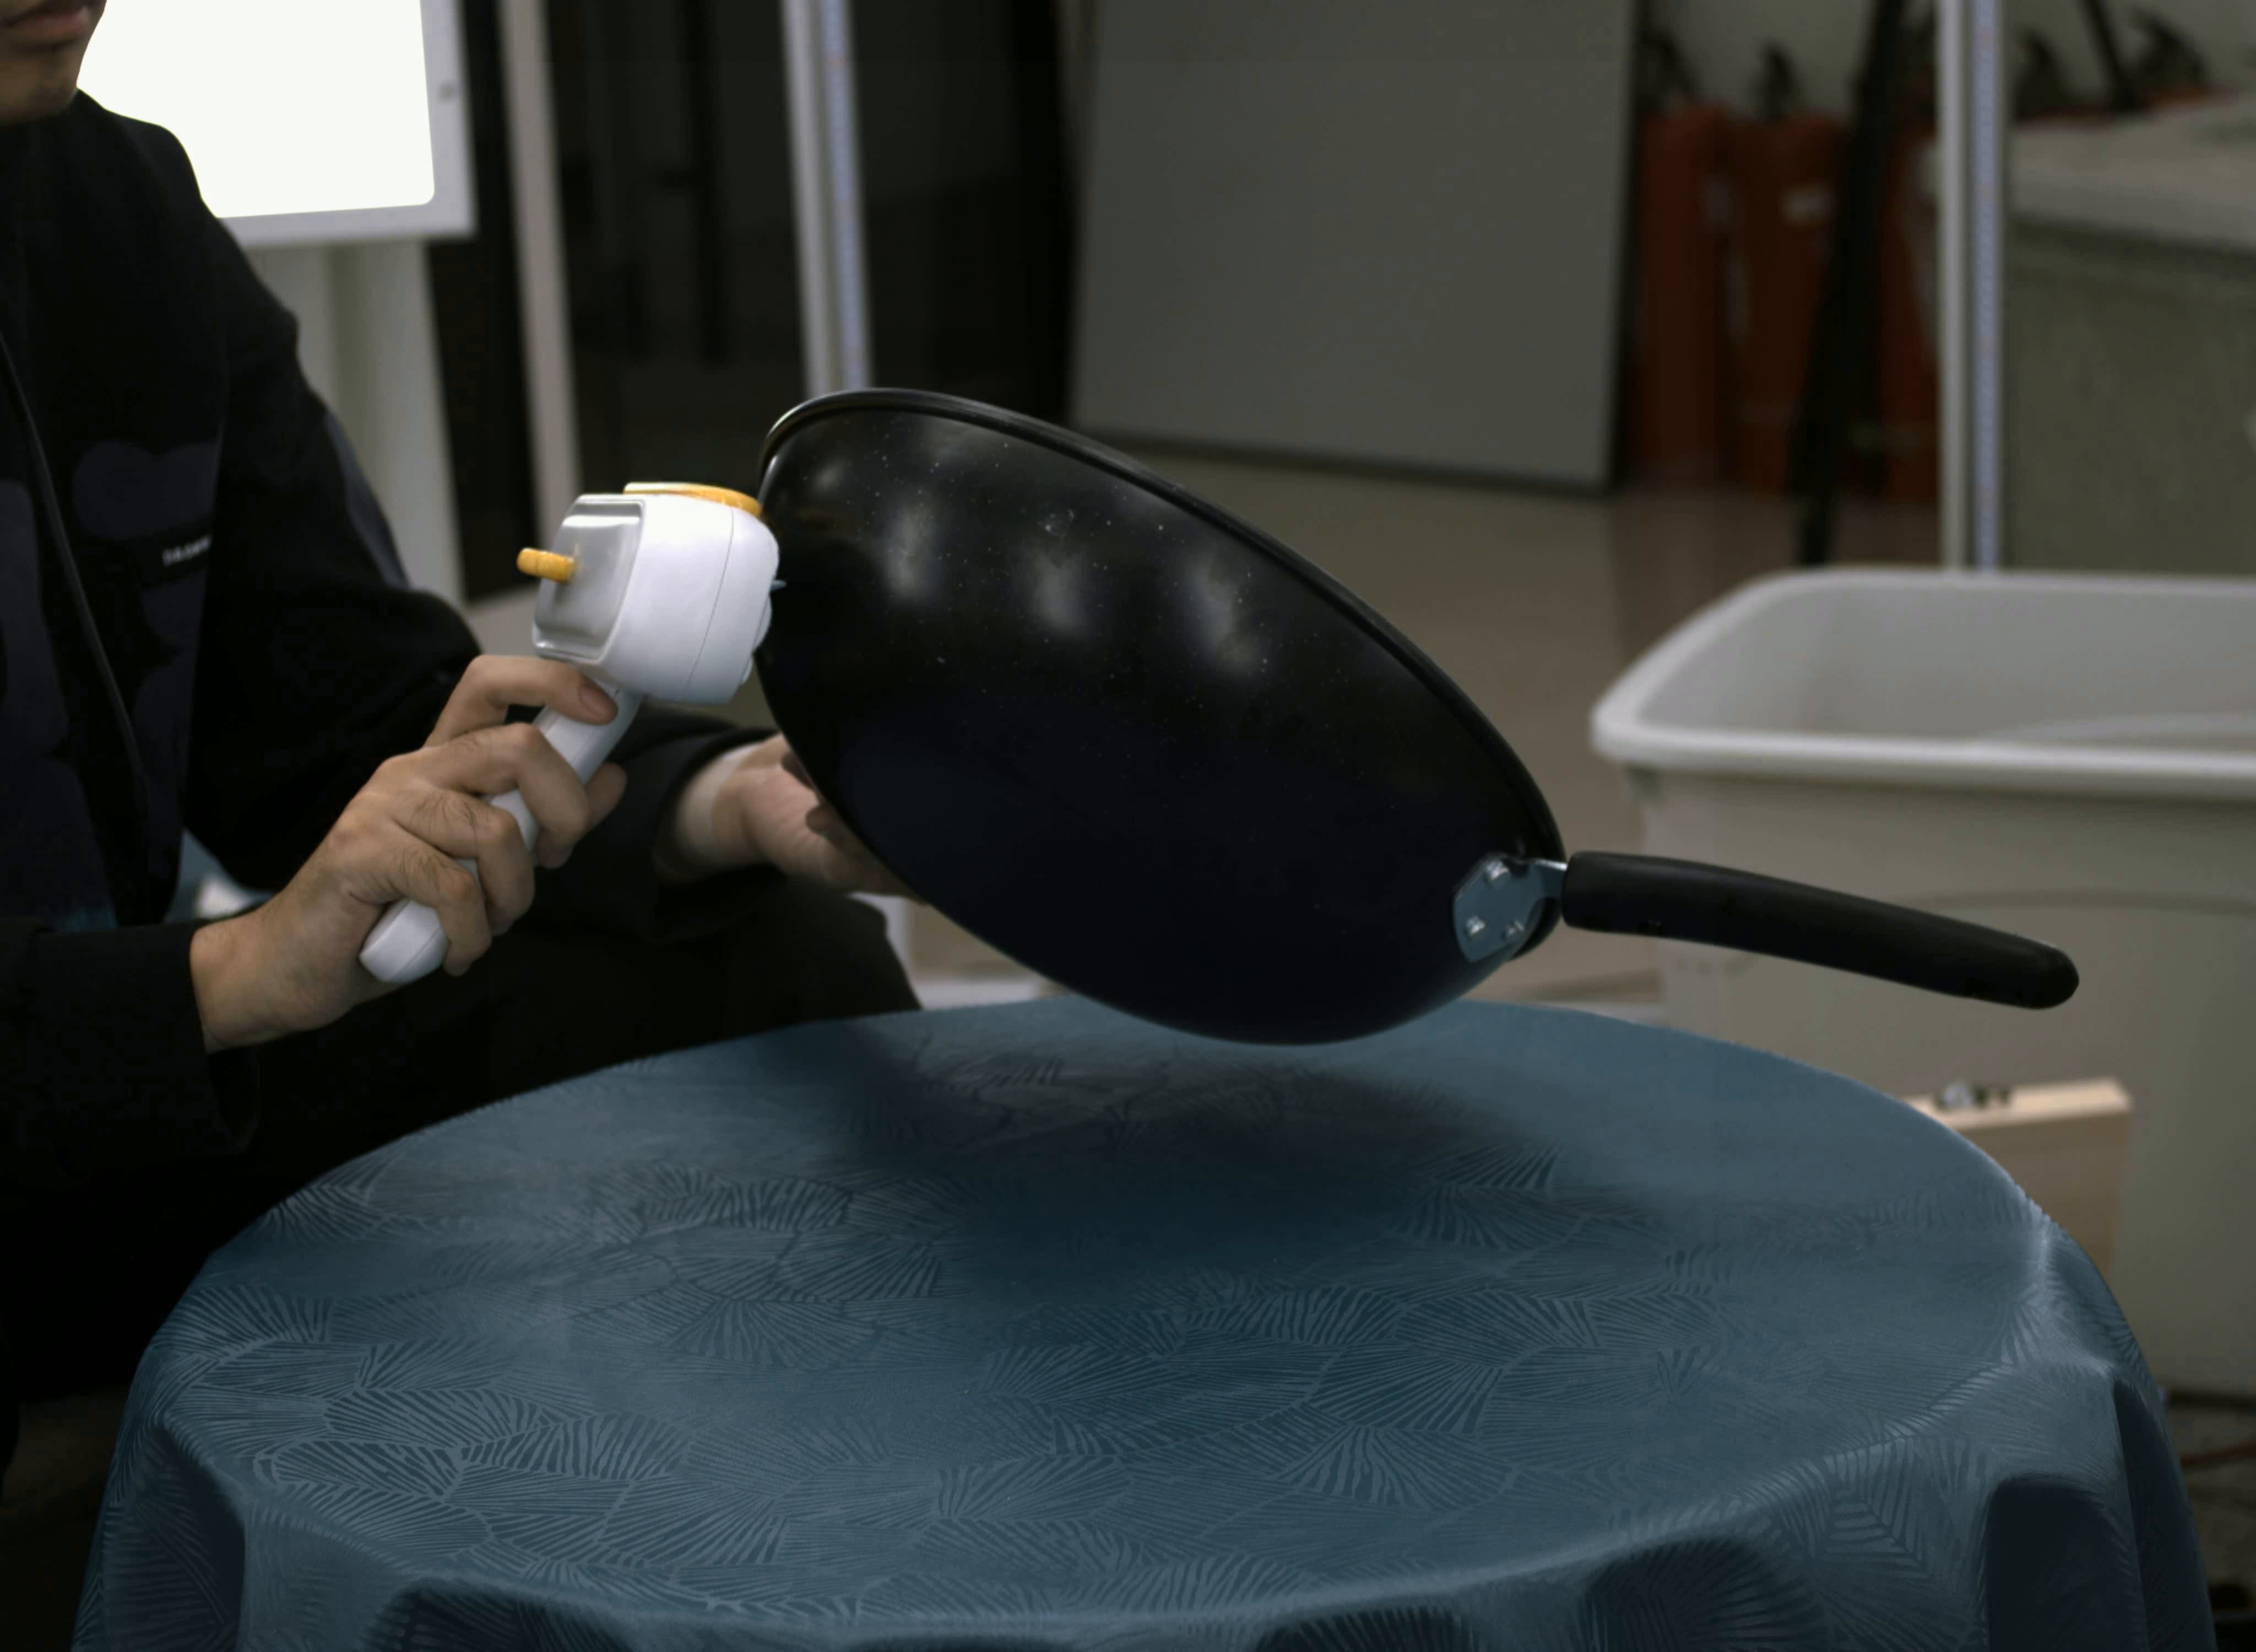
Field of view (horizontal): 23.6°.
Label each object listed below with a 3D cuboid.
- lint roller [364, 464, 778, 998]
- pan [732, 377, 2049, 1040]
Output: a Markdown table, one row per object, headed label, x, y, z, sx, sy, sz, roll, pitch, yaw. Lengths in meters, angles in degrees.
| label | x | y | z | sx | sy | sz | roll | pitch | yaw |
| --- | --- | --- | --- | --- | --- | --- | --- | --- | --- |
| lint roller | -0.187 | -0.026 | 1.773 | 0.073 | 0.194 | 0.194 | 25 | -7 | -18 |
| pan | 0.059 | 0.003 | 1.741 | 0.478 | 0.309 | 0.112 | 22 | 68 | 24 |
